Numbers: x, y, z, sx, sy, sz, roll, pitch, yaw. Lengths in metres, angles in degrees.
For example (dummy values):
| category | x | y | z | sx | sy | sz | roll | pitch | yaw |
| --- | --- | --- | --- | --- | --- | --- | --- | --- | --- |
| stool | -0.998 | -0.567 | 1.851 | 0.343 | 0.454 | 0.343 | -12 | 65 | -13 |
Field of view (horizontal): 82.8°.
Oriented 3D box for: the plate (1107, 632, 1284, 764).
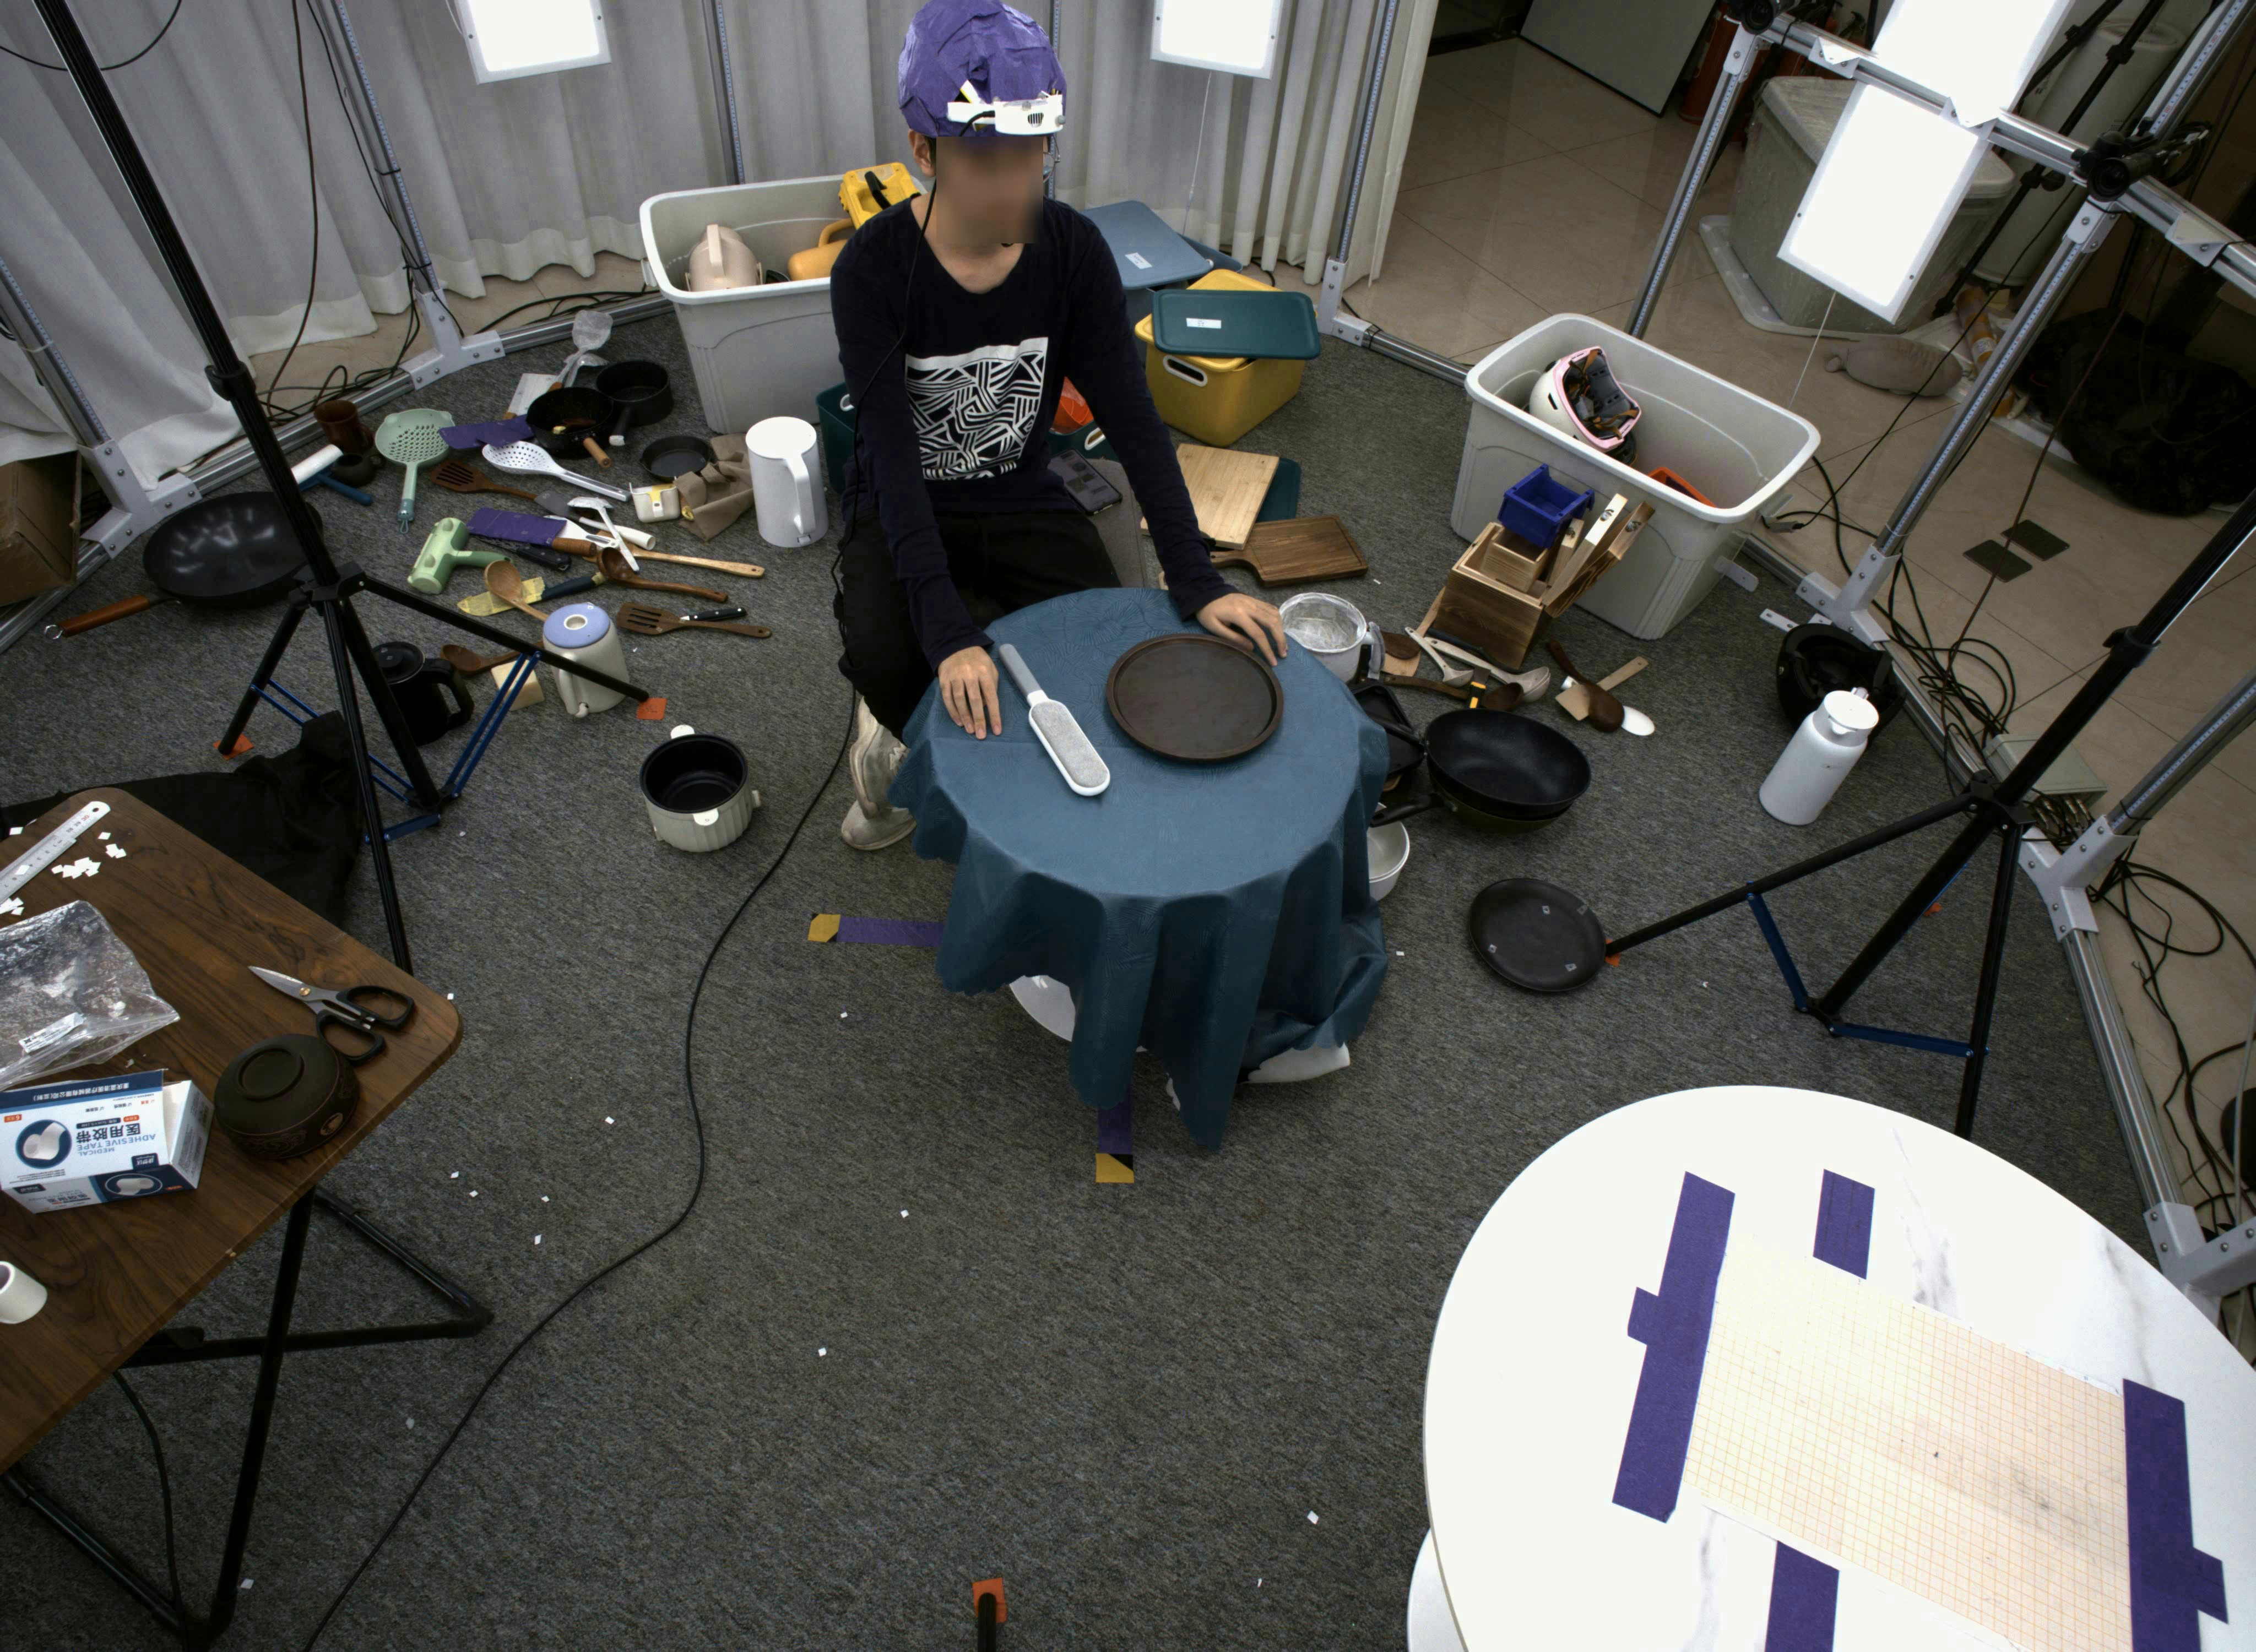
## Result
| category | x | y | z | sx | sy | sz | roll | pitch | yaw |
| --- | --- | --- | --- | --- | --- | --- | --- | --- | --- |
| plate | 0.095 | -0.183 | 1.817 | 0.254 | 0.028 | 0.261 | 3 | 49 | -4 |

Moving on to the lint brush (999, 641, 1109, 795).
| category | x | y | z | sx | sy | sz | roll | pitch | yaw |
| --- | --- | --- | --- | --- | --- | --- | --- | --- | --- |
| lint brush | -0.108 | -0.155 | 1.776 | 0.060 | 0.020 | 0.316 | -22 | 54 | -15 |
